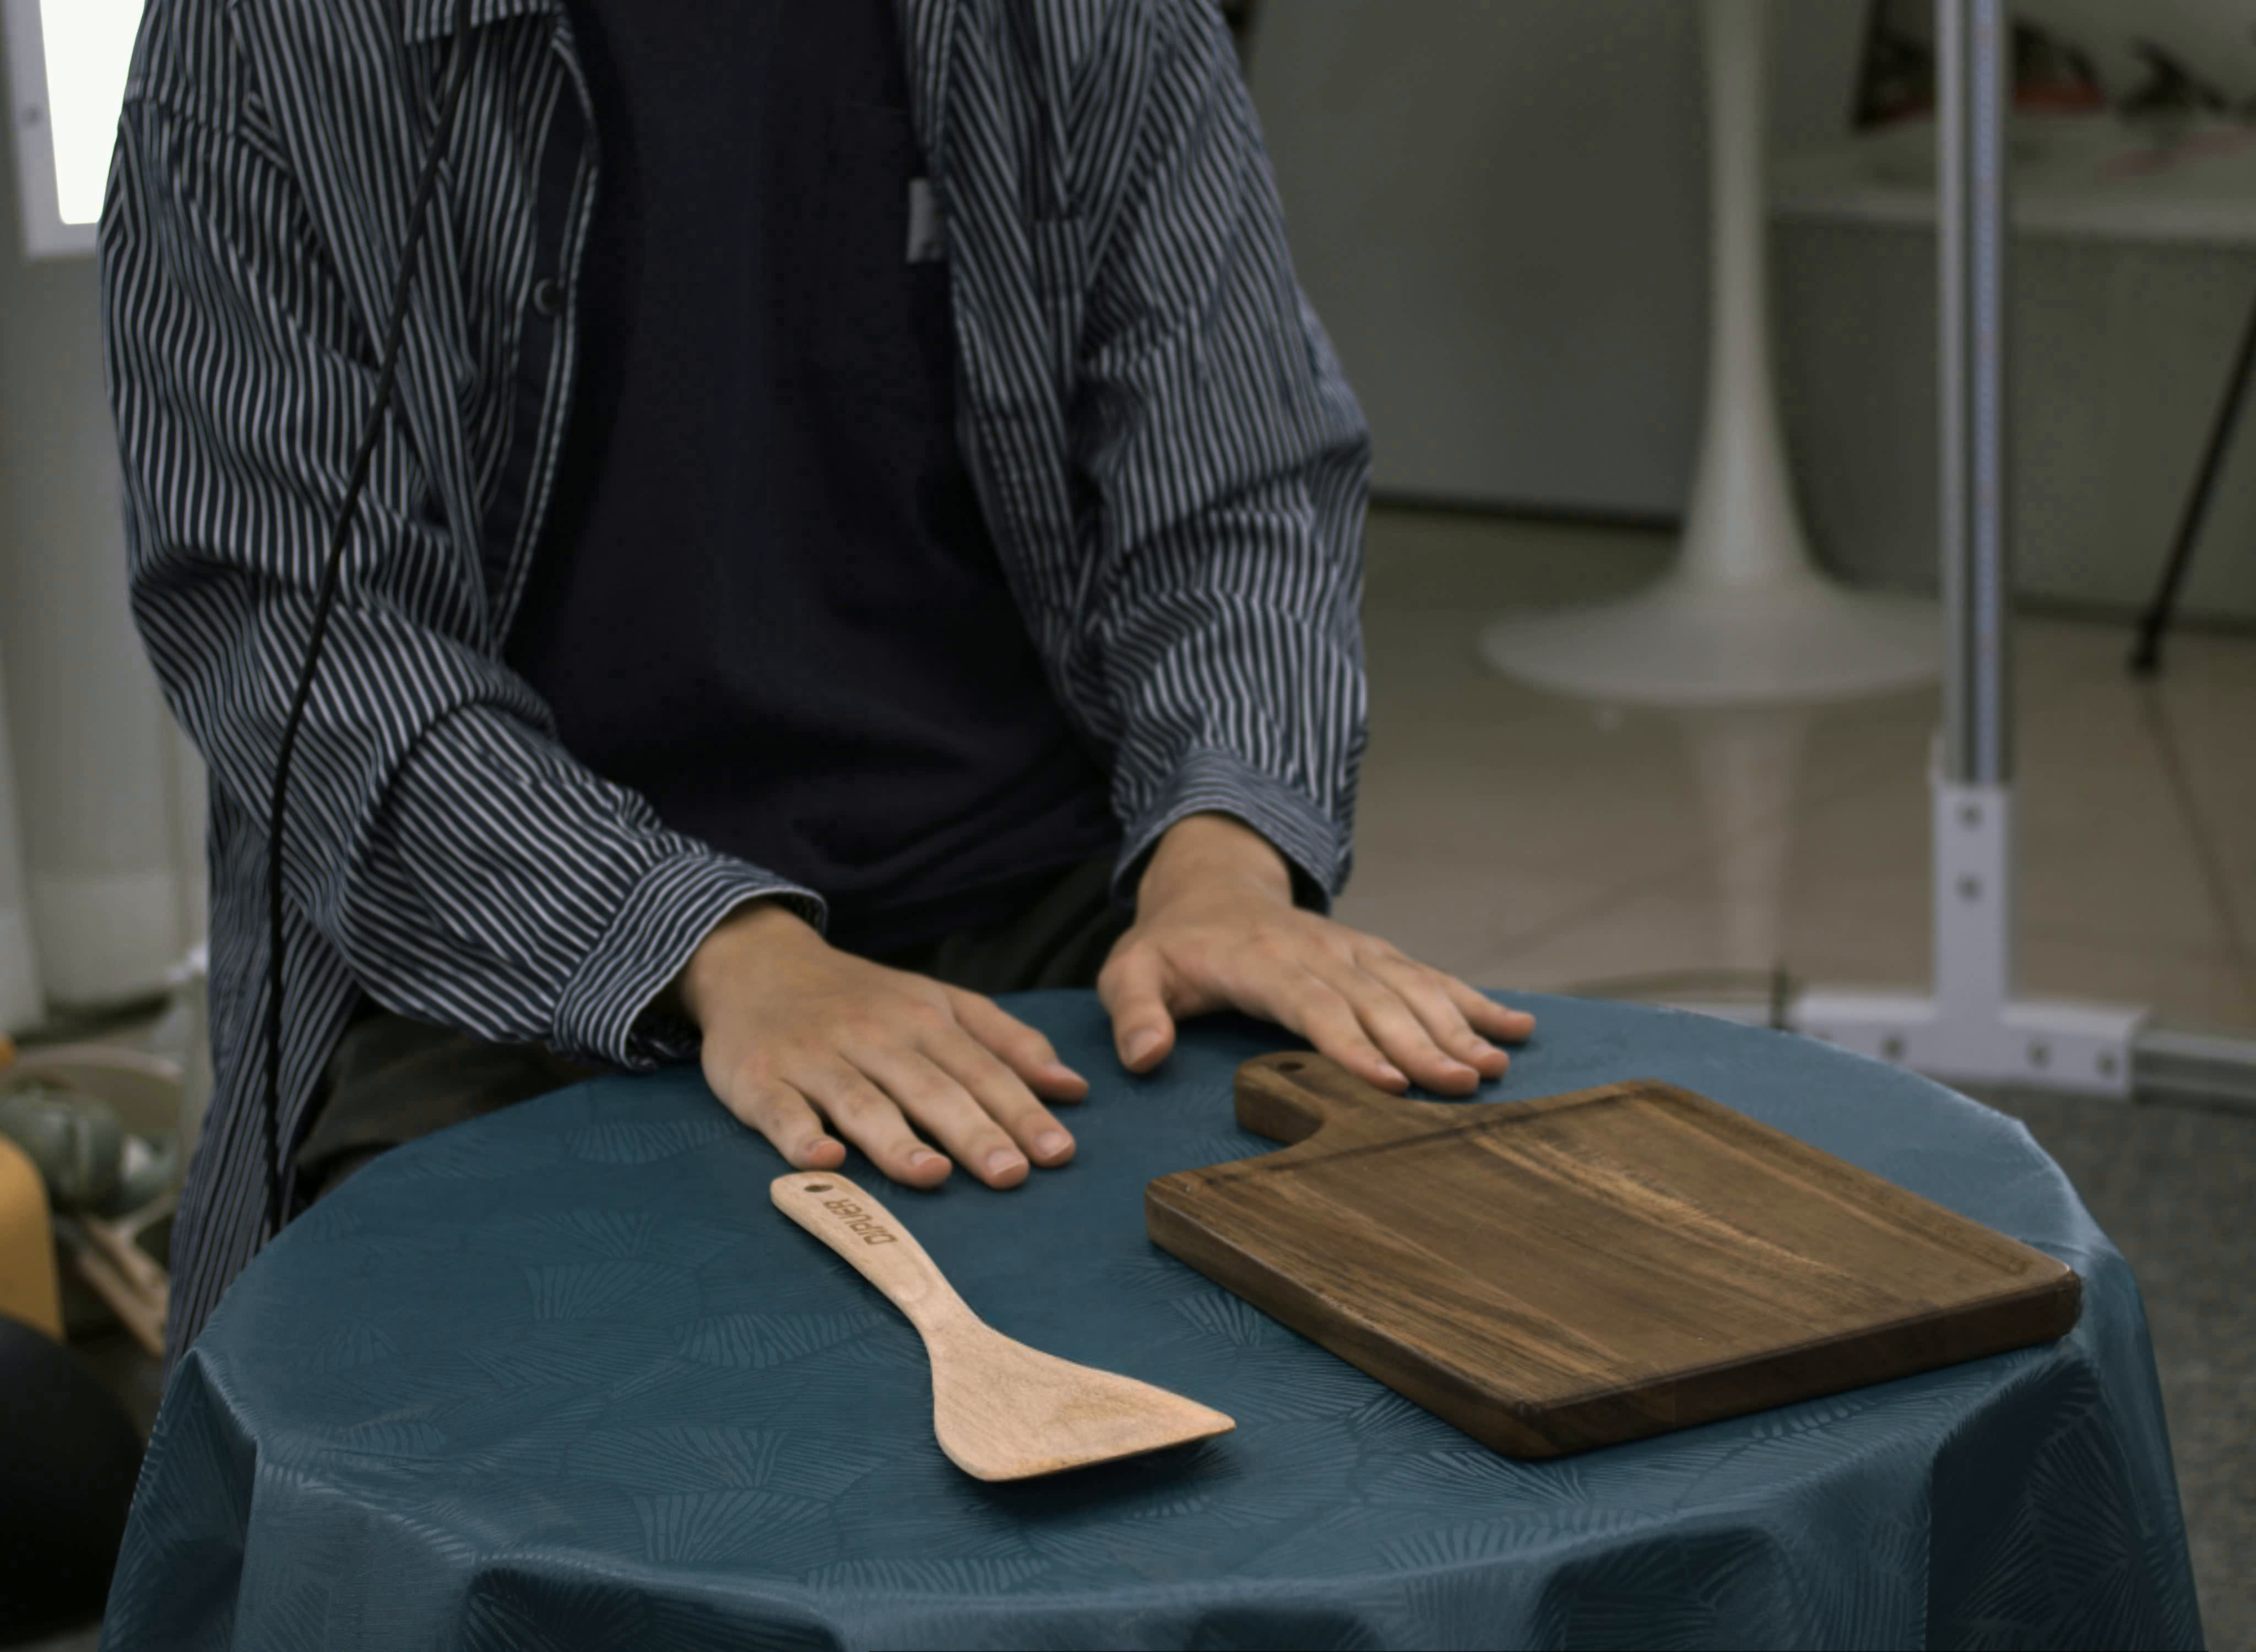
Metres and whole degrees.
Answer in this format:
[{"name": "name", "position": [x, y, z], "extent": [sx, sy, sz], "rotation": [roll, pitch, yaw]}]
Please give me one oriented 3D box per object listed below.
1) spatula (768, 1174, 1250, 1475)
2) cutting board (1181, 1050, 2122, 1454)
[{"name": "spatula", "position": [-0.052, 0.147, 1.645], "extent": [0.078, 0.017, 0.330], "rotation": [-8, 14, -19]}, {"name": "cutting board", "position": [0.134, 0.120, 1.691], "extent": [0.197, 0.023, 0.356], "rotation": [-10, 15, -23]}]
